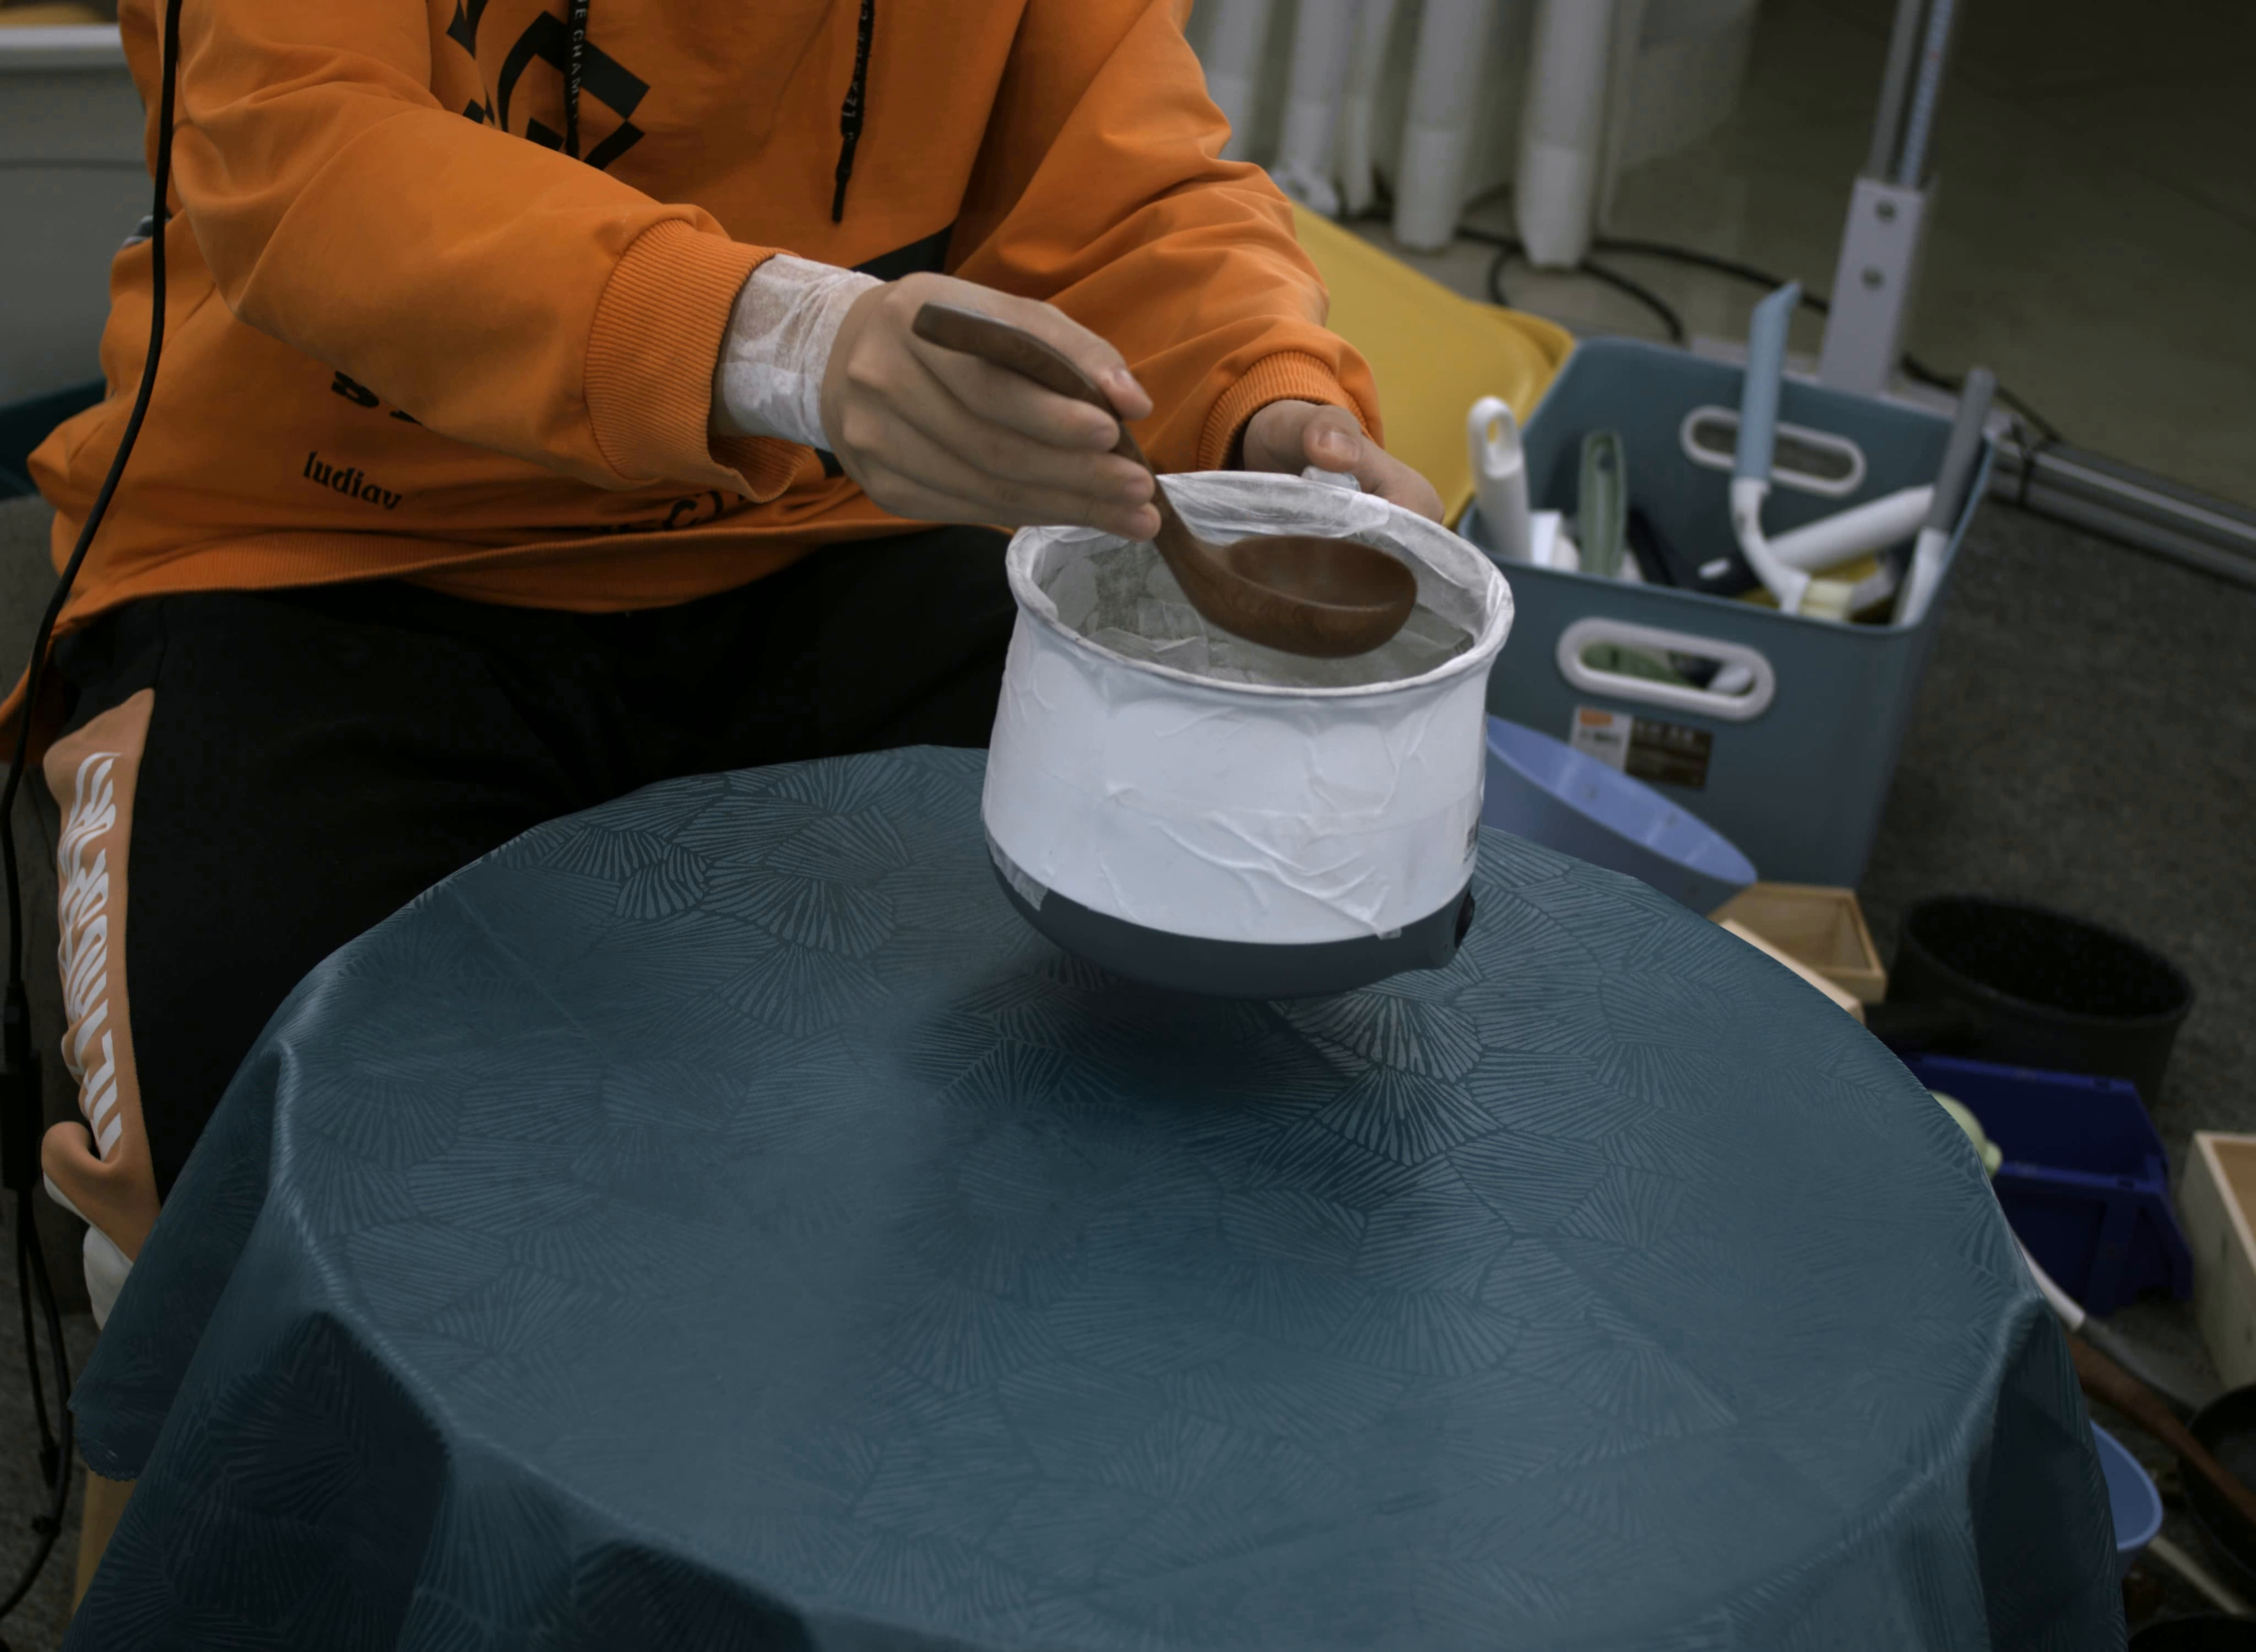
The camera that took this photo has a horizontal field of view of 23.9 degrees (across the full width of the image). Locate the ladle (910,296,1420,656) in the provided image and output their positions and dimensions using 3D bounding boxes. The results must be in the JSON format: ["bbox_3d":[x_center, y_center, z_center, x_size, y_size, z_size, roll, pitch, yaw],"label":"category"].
[{"bbox_3d":[0.014,-0.127,1.784,0.077,0.065,0.258,19,-16,41],"label":"ladle"}]

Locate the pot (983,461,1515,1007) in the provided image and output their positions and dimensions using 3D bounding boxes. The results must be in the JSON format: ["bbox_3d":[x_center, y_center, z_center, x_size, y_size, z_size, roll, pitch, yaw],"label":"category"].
[{"bbox_3d":[0.046,-0.041,1.893,0.179,0.136,0.234,12,28,10],"label":"pot"}]
